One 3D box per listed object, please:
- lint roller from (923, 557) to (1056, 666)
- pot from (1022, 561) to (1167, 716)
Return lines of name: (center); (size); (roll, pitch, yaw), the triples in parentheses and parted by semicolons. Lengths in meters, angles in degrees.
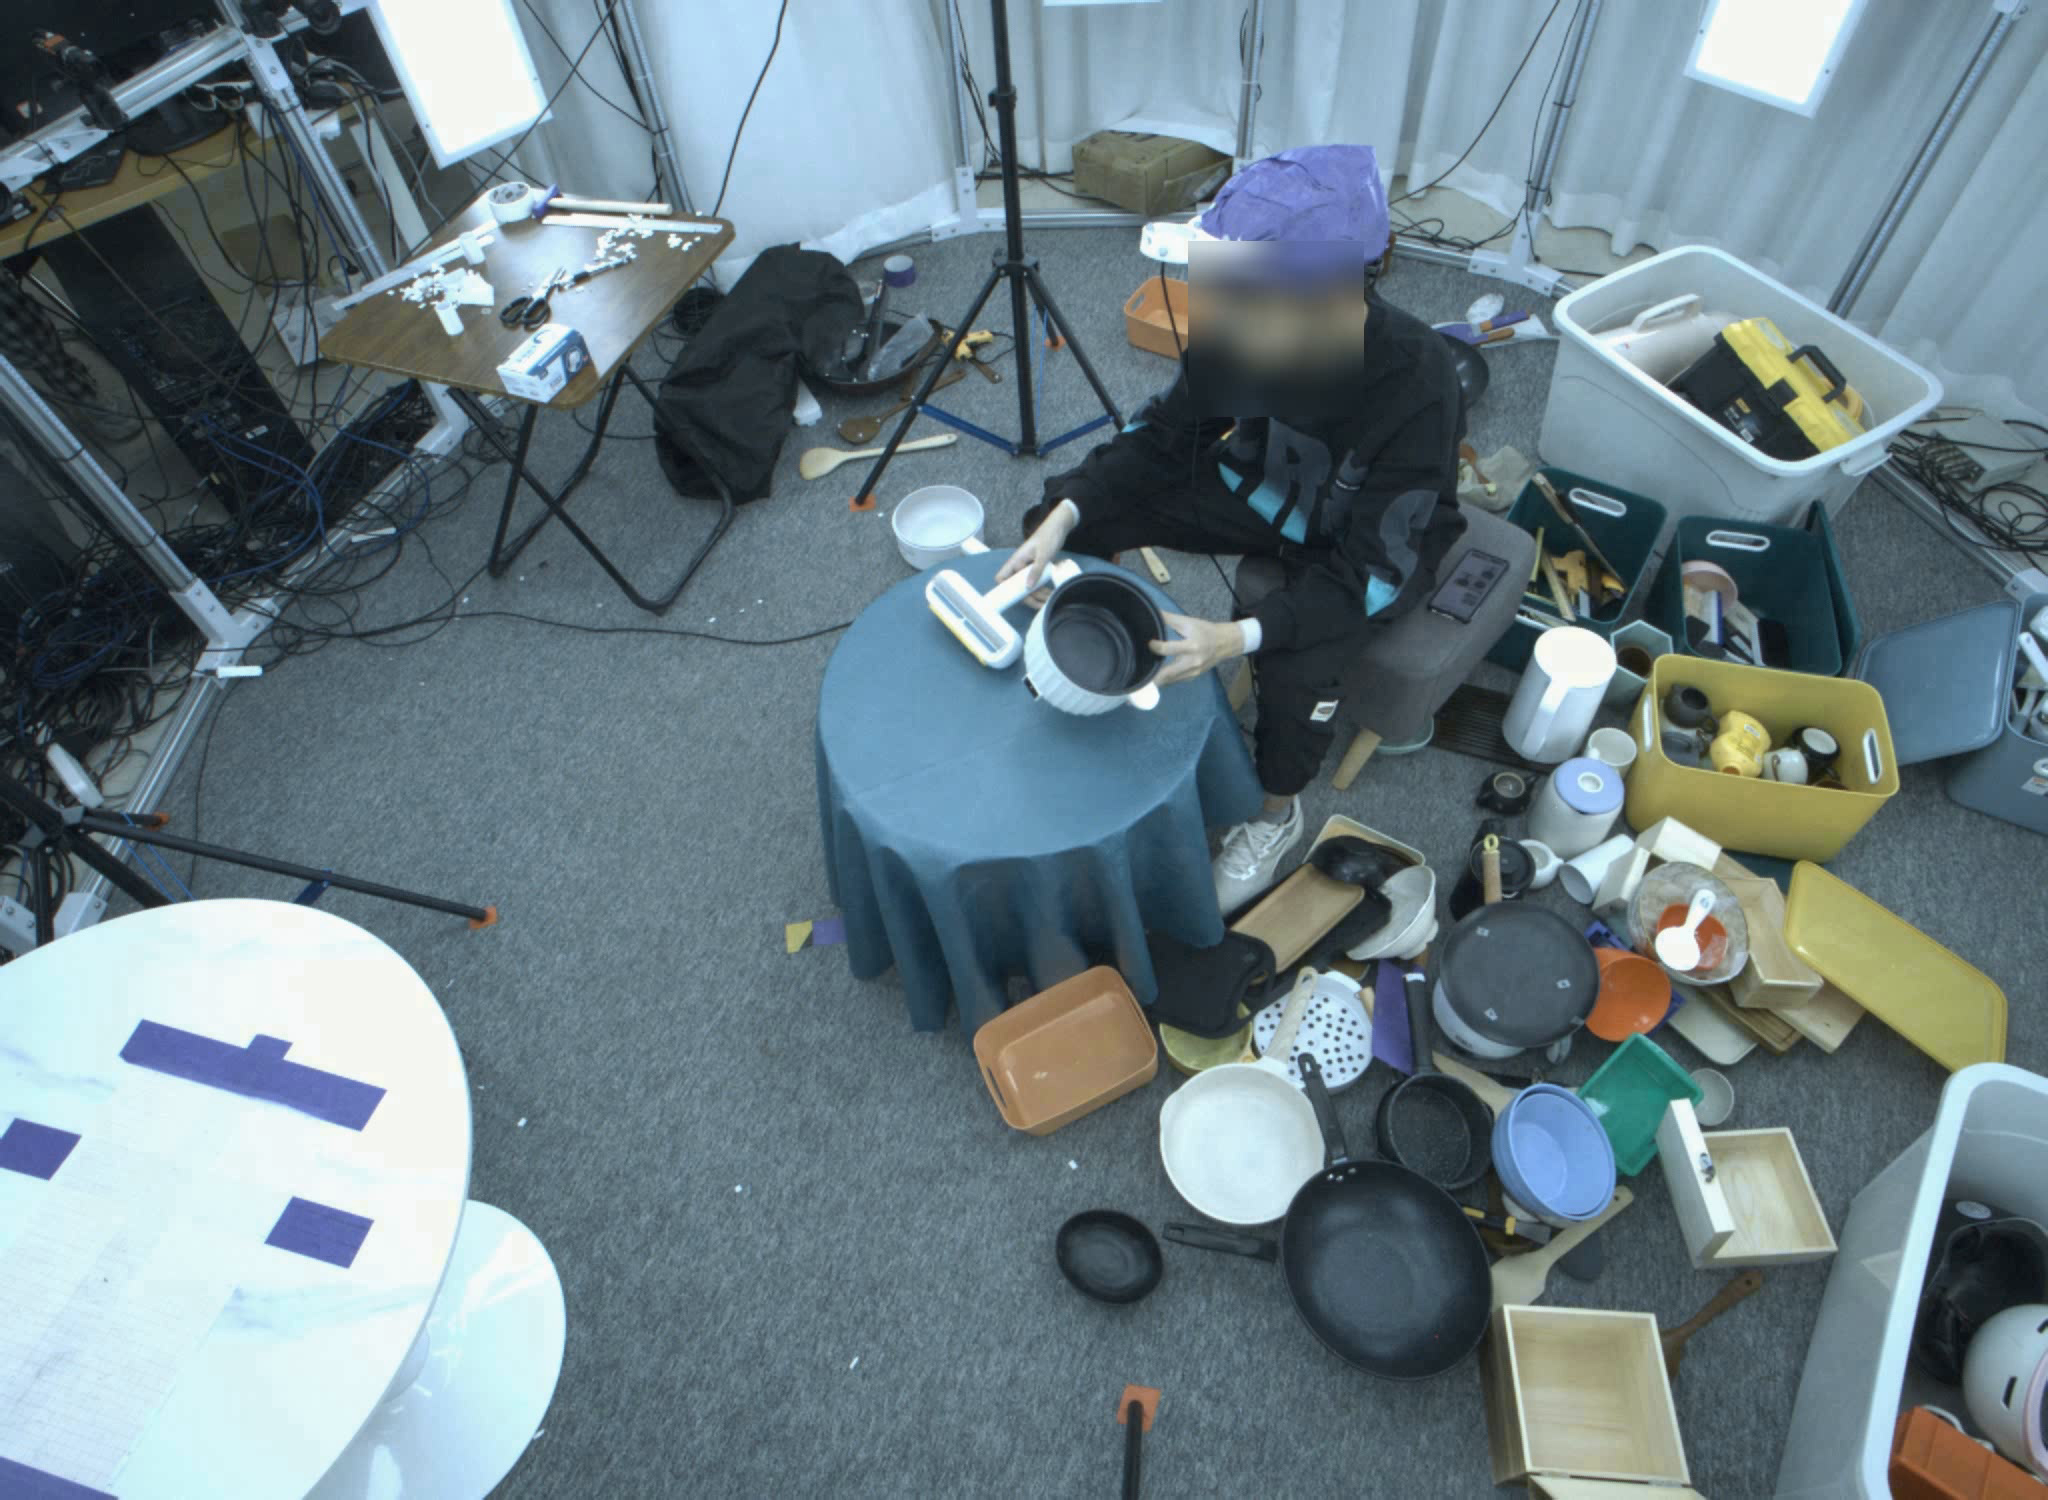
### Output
lint roller: (-0.035, -0.240, 1.891); (0.192, 0.075, 0.189); (-39, 63, -1)
pot: (0.095, -0.145, 1.732); (0.192, 0.141, 0.240); (-33, 89, -21)
